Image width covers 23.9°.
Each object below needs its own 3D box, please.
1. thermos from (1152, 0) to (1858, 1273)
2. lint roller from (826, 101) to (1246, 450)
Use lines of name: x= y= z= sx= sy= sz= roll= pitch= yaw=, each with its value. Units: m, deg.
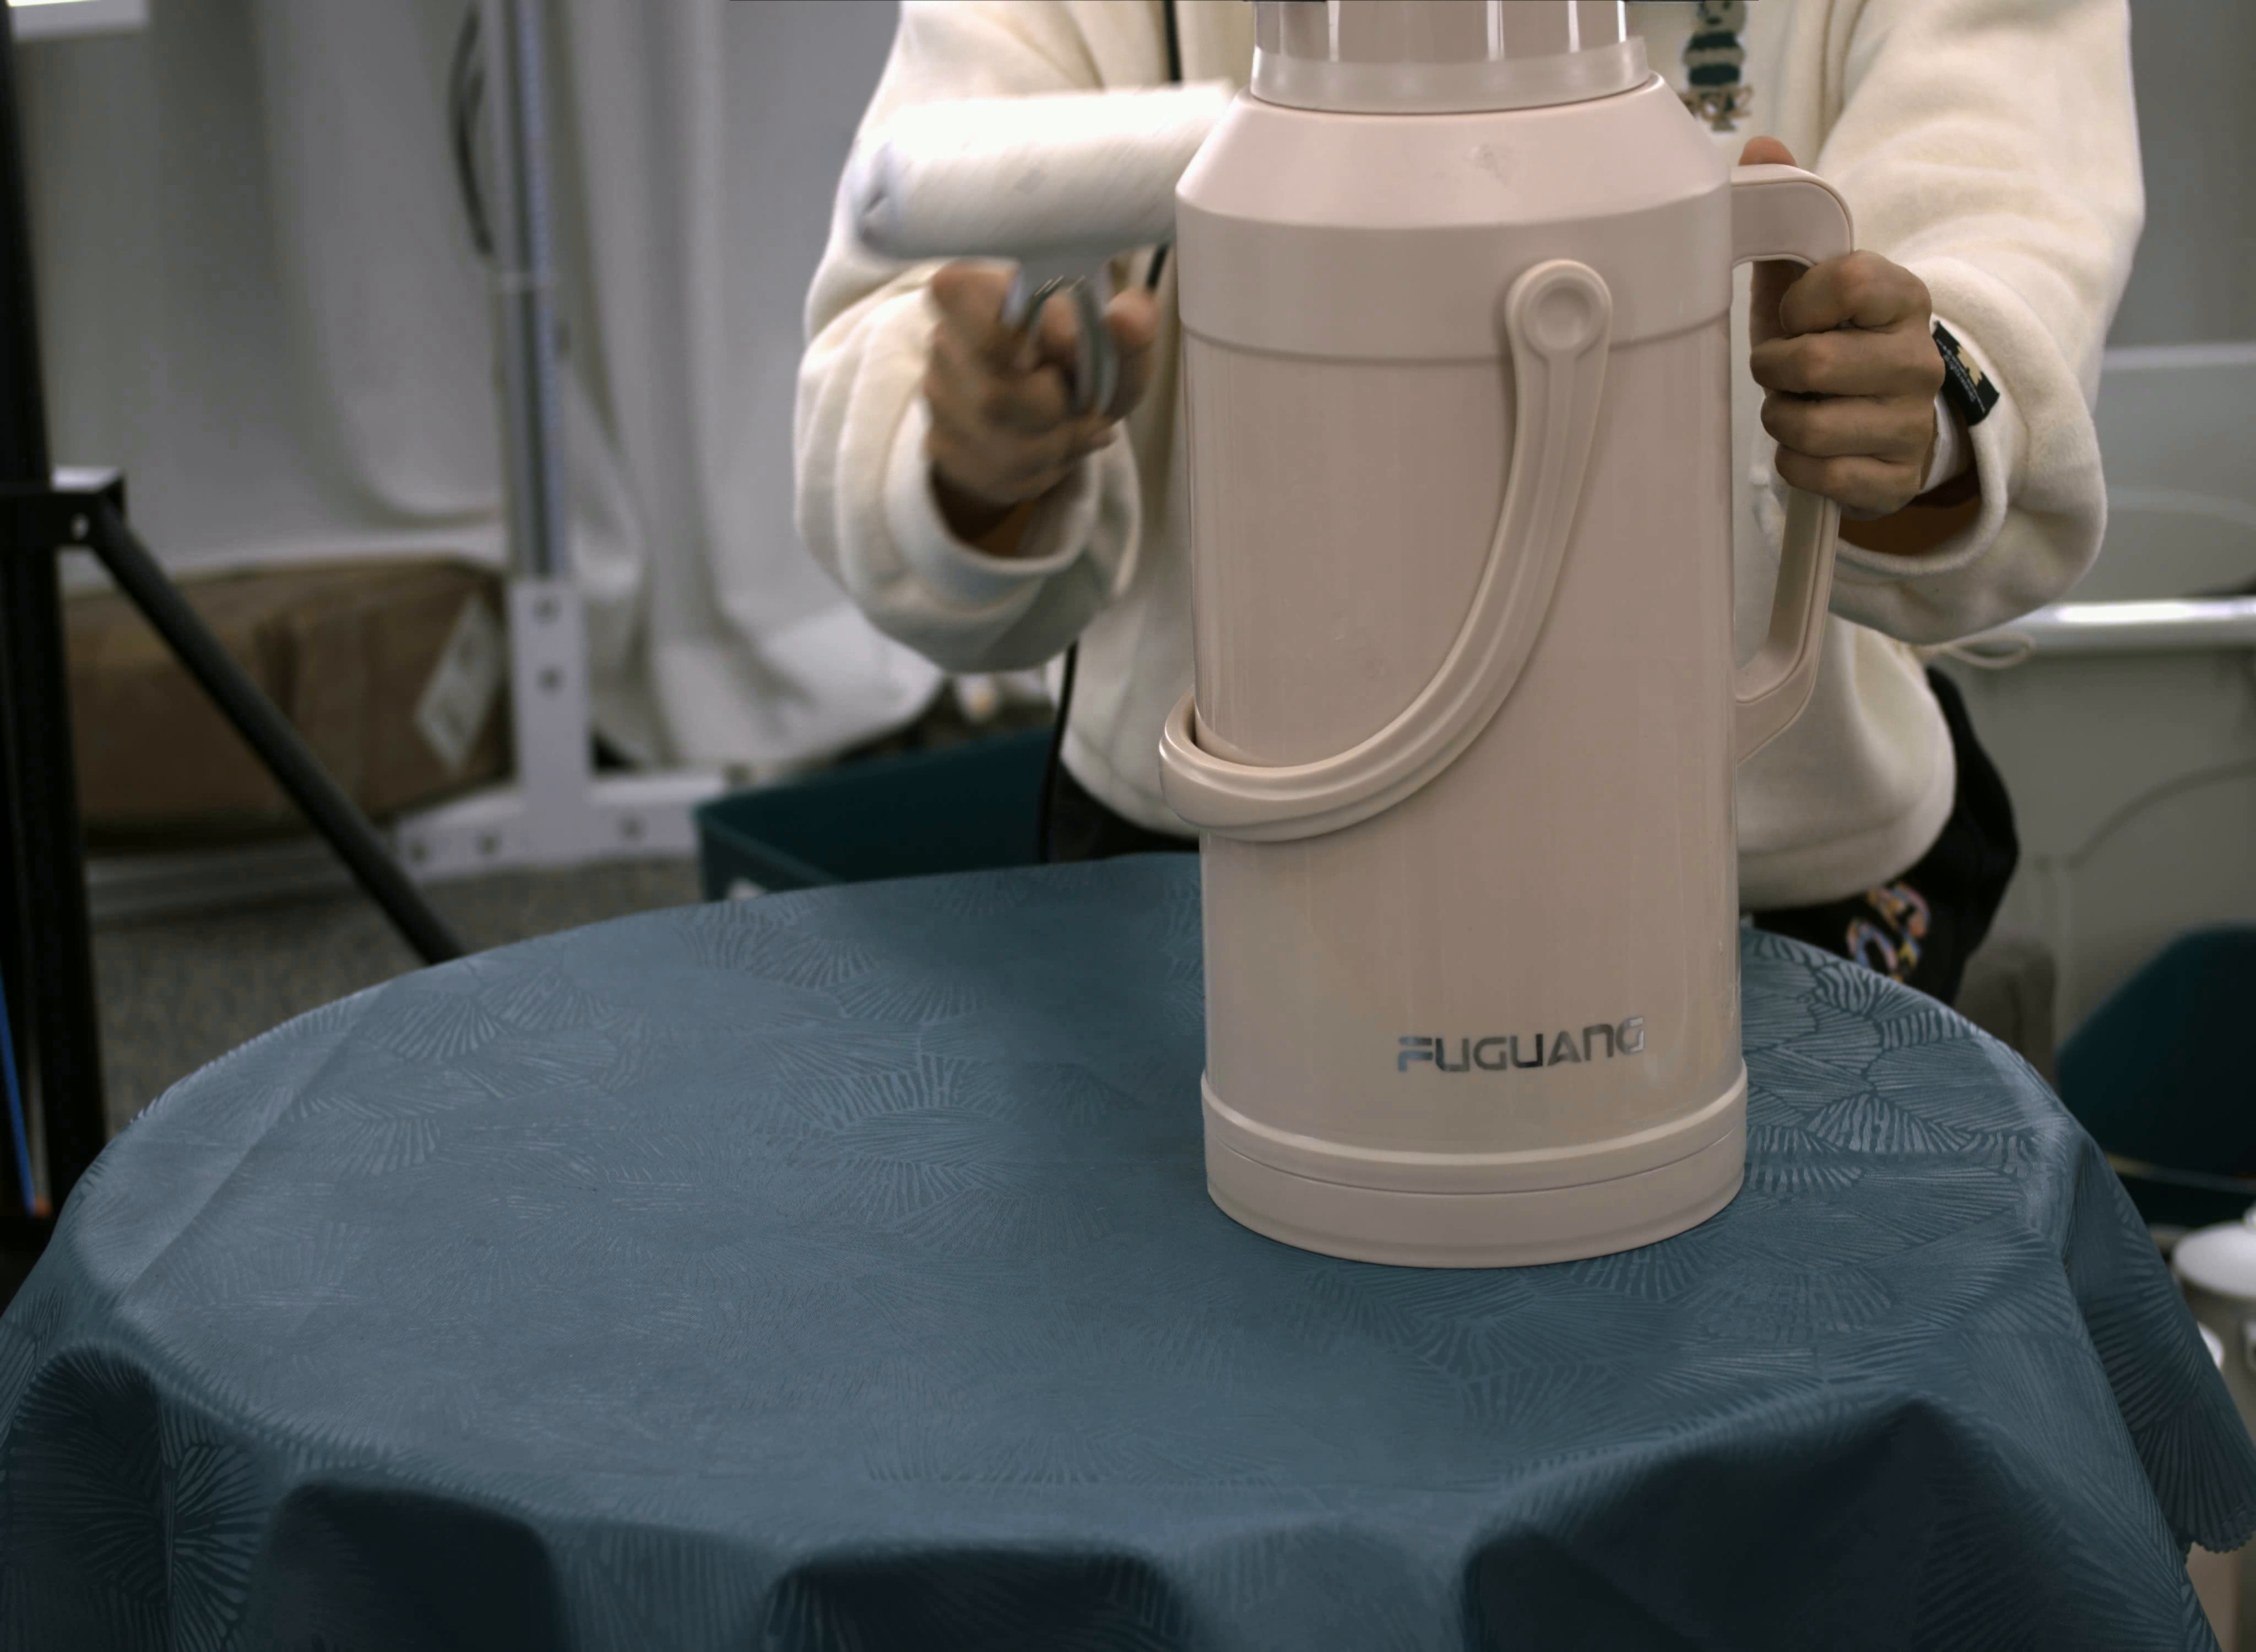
thermos: x=0.108 y=-0.088 z=1.508 sx=0.204 sy=0.406 sz=0.178 roll=-6 pitch=15 yaw=-14
lint roller: x=-0.025 y=-0.169 z=1.652 sx=0.132 sy=0.051 sz=0.180 roll=-5 pitch=-16 yaw=-2
